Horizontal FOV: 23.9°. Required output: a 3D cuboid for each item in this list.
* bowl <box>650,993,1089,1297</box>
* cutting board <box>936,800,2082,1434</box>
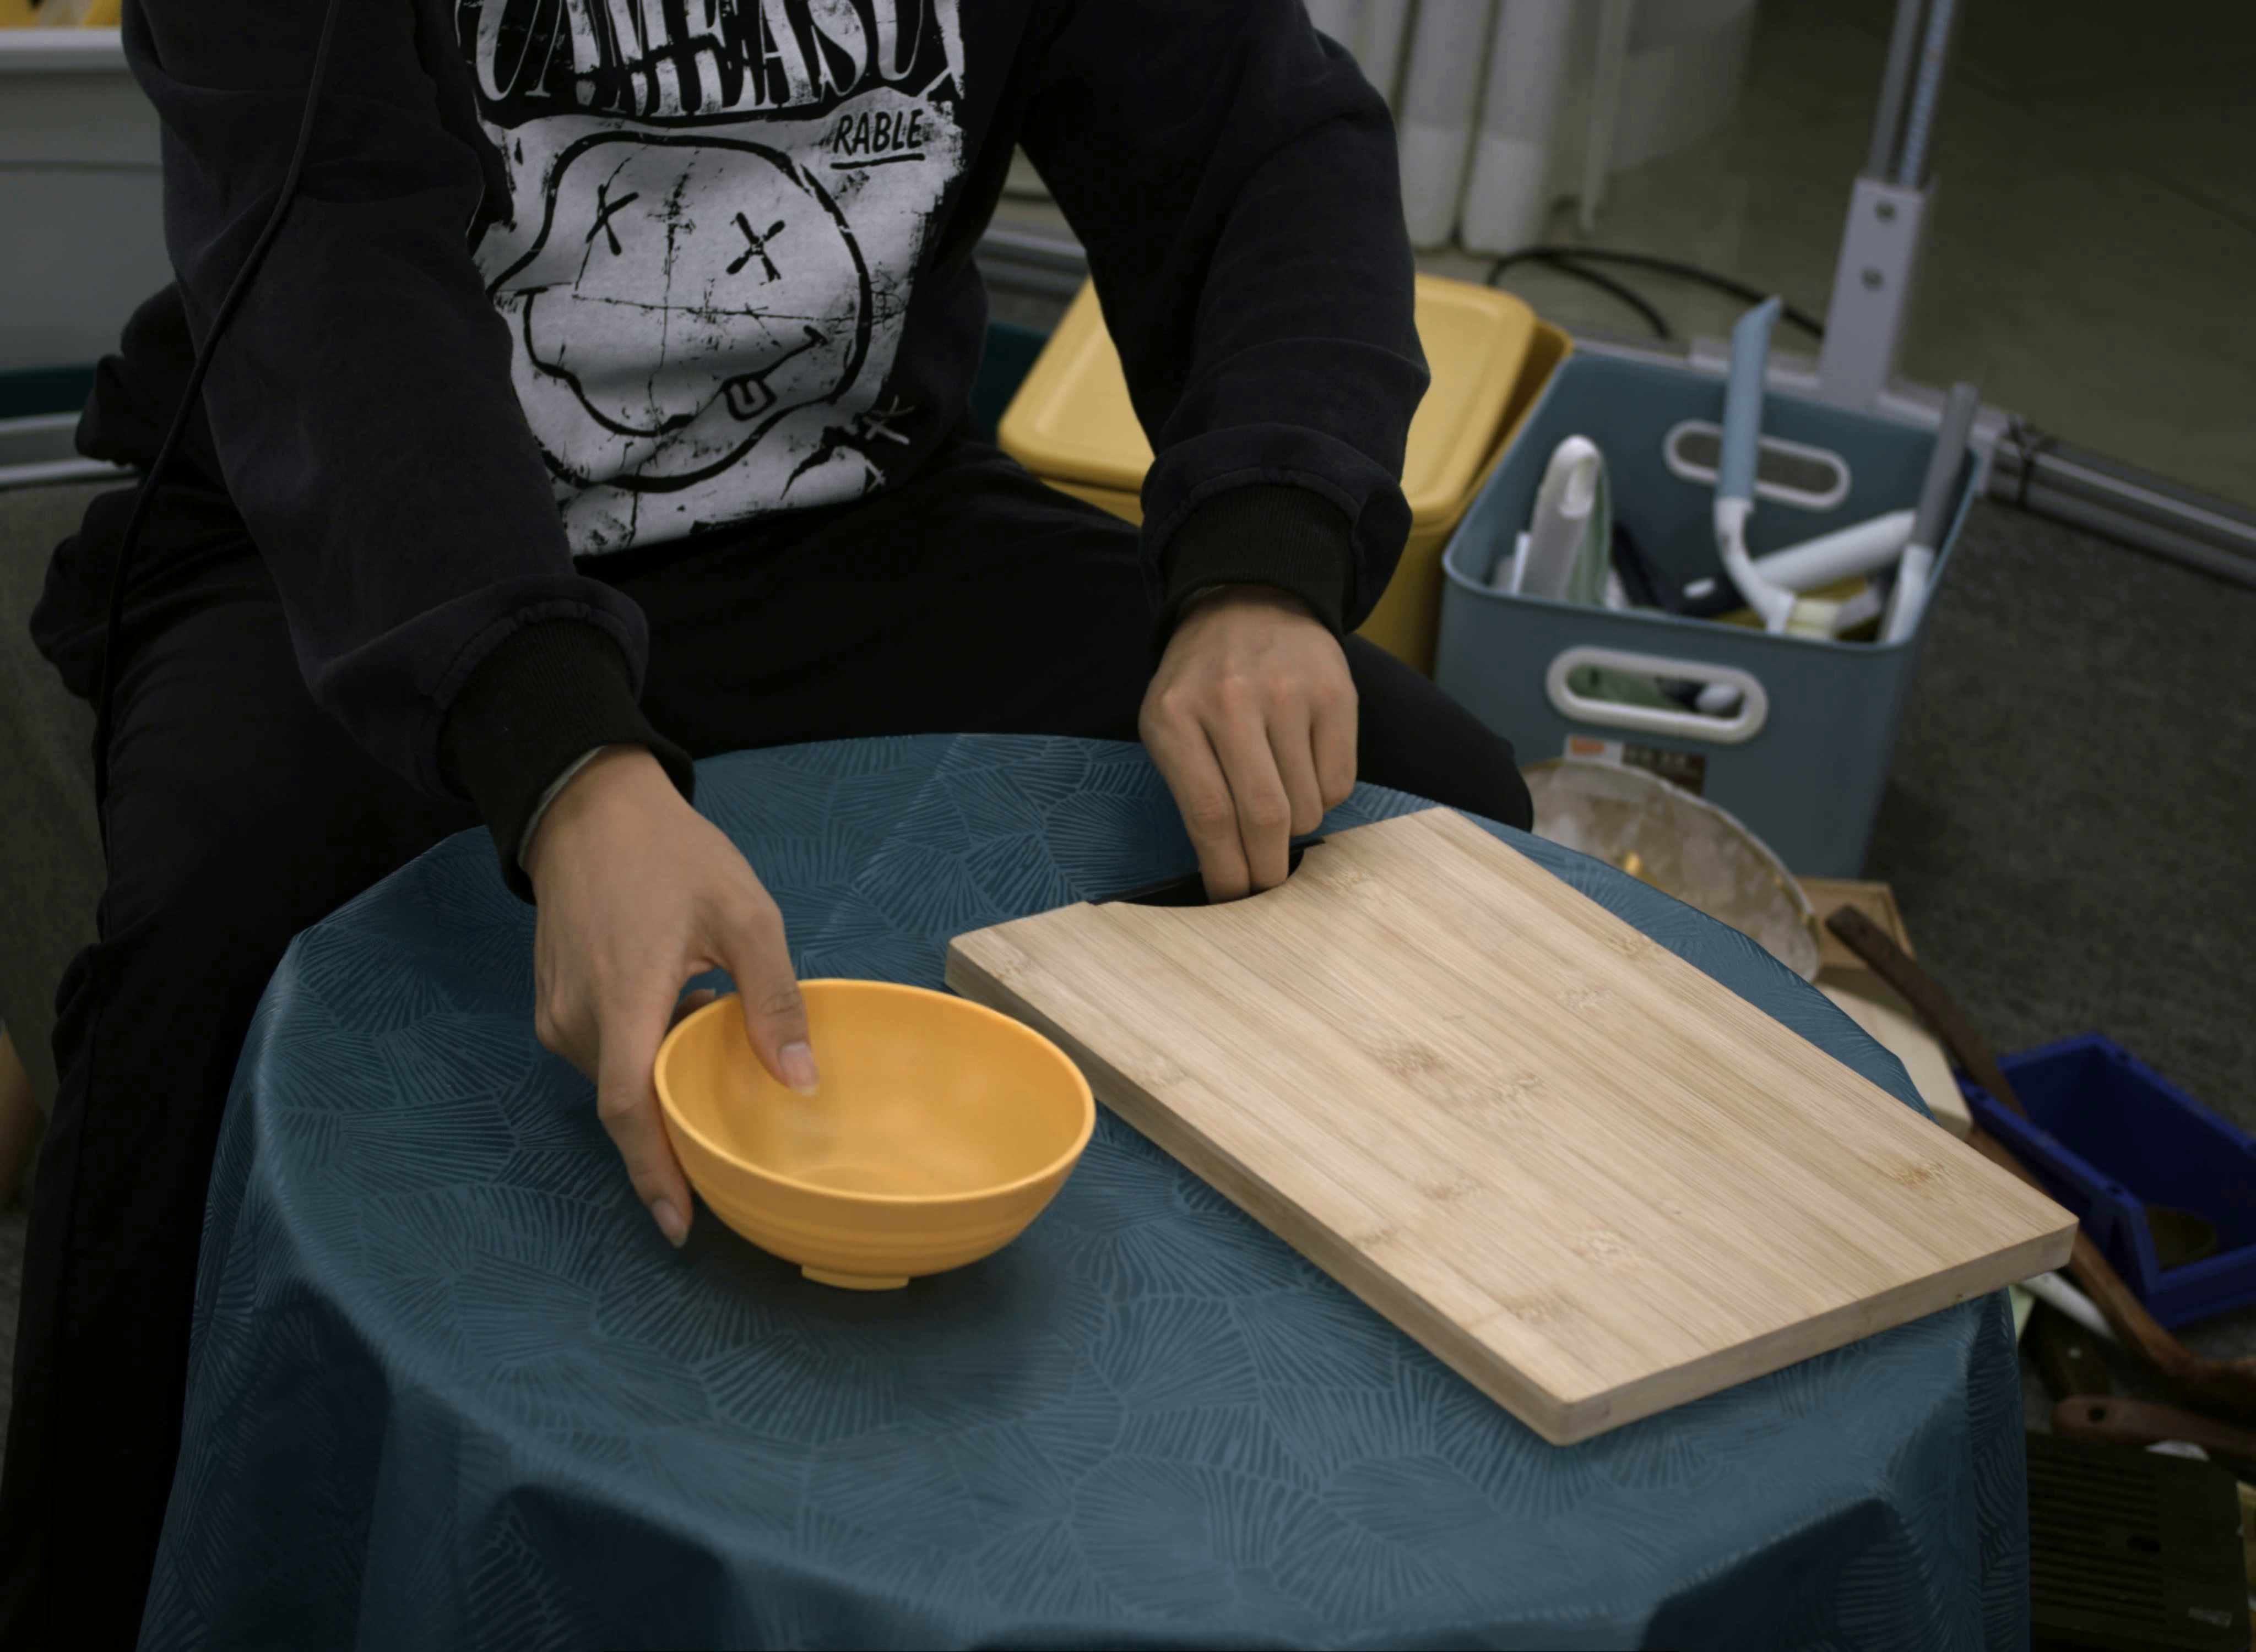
[{"bbox_3d":[-0.088,0.112,1.741,0.145,0.060,0.146,7,23,-3],"label":"bowl"},{"bbox_3d":[0.128,0.094,1.870,0.249,0.023,0.351,-15,34,-36],"label":"cutting board"}]
